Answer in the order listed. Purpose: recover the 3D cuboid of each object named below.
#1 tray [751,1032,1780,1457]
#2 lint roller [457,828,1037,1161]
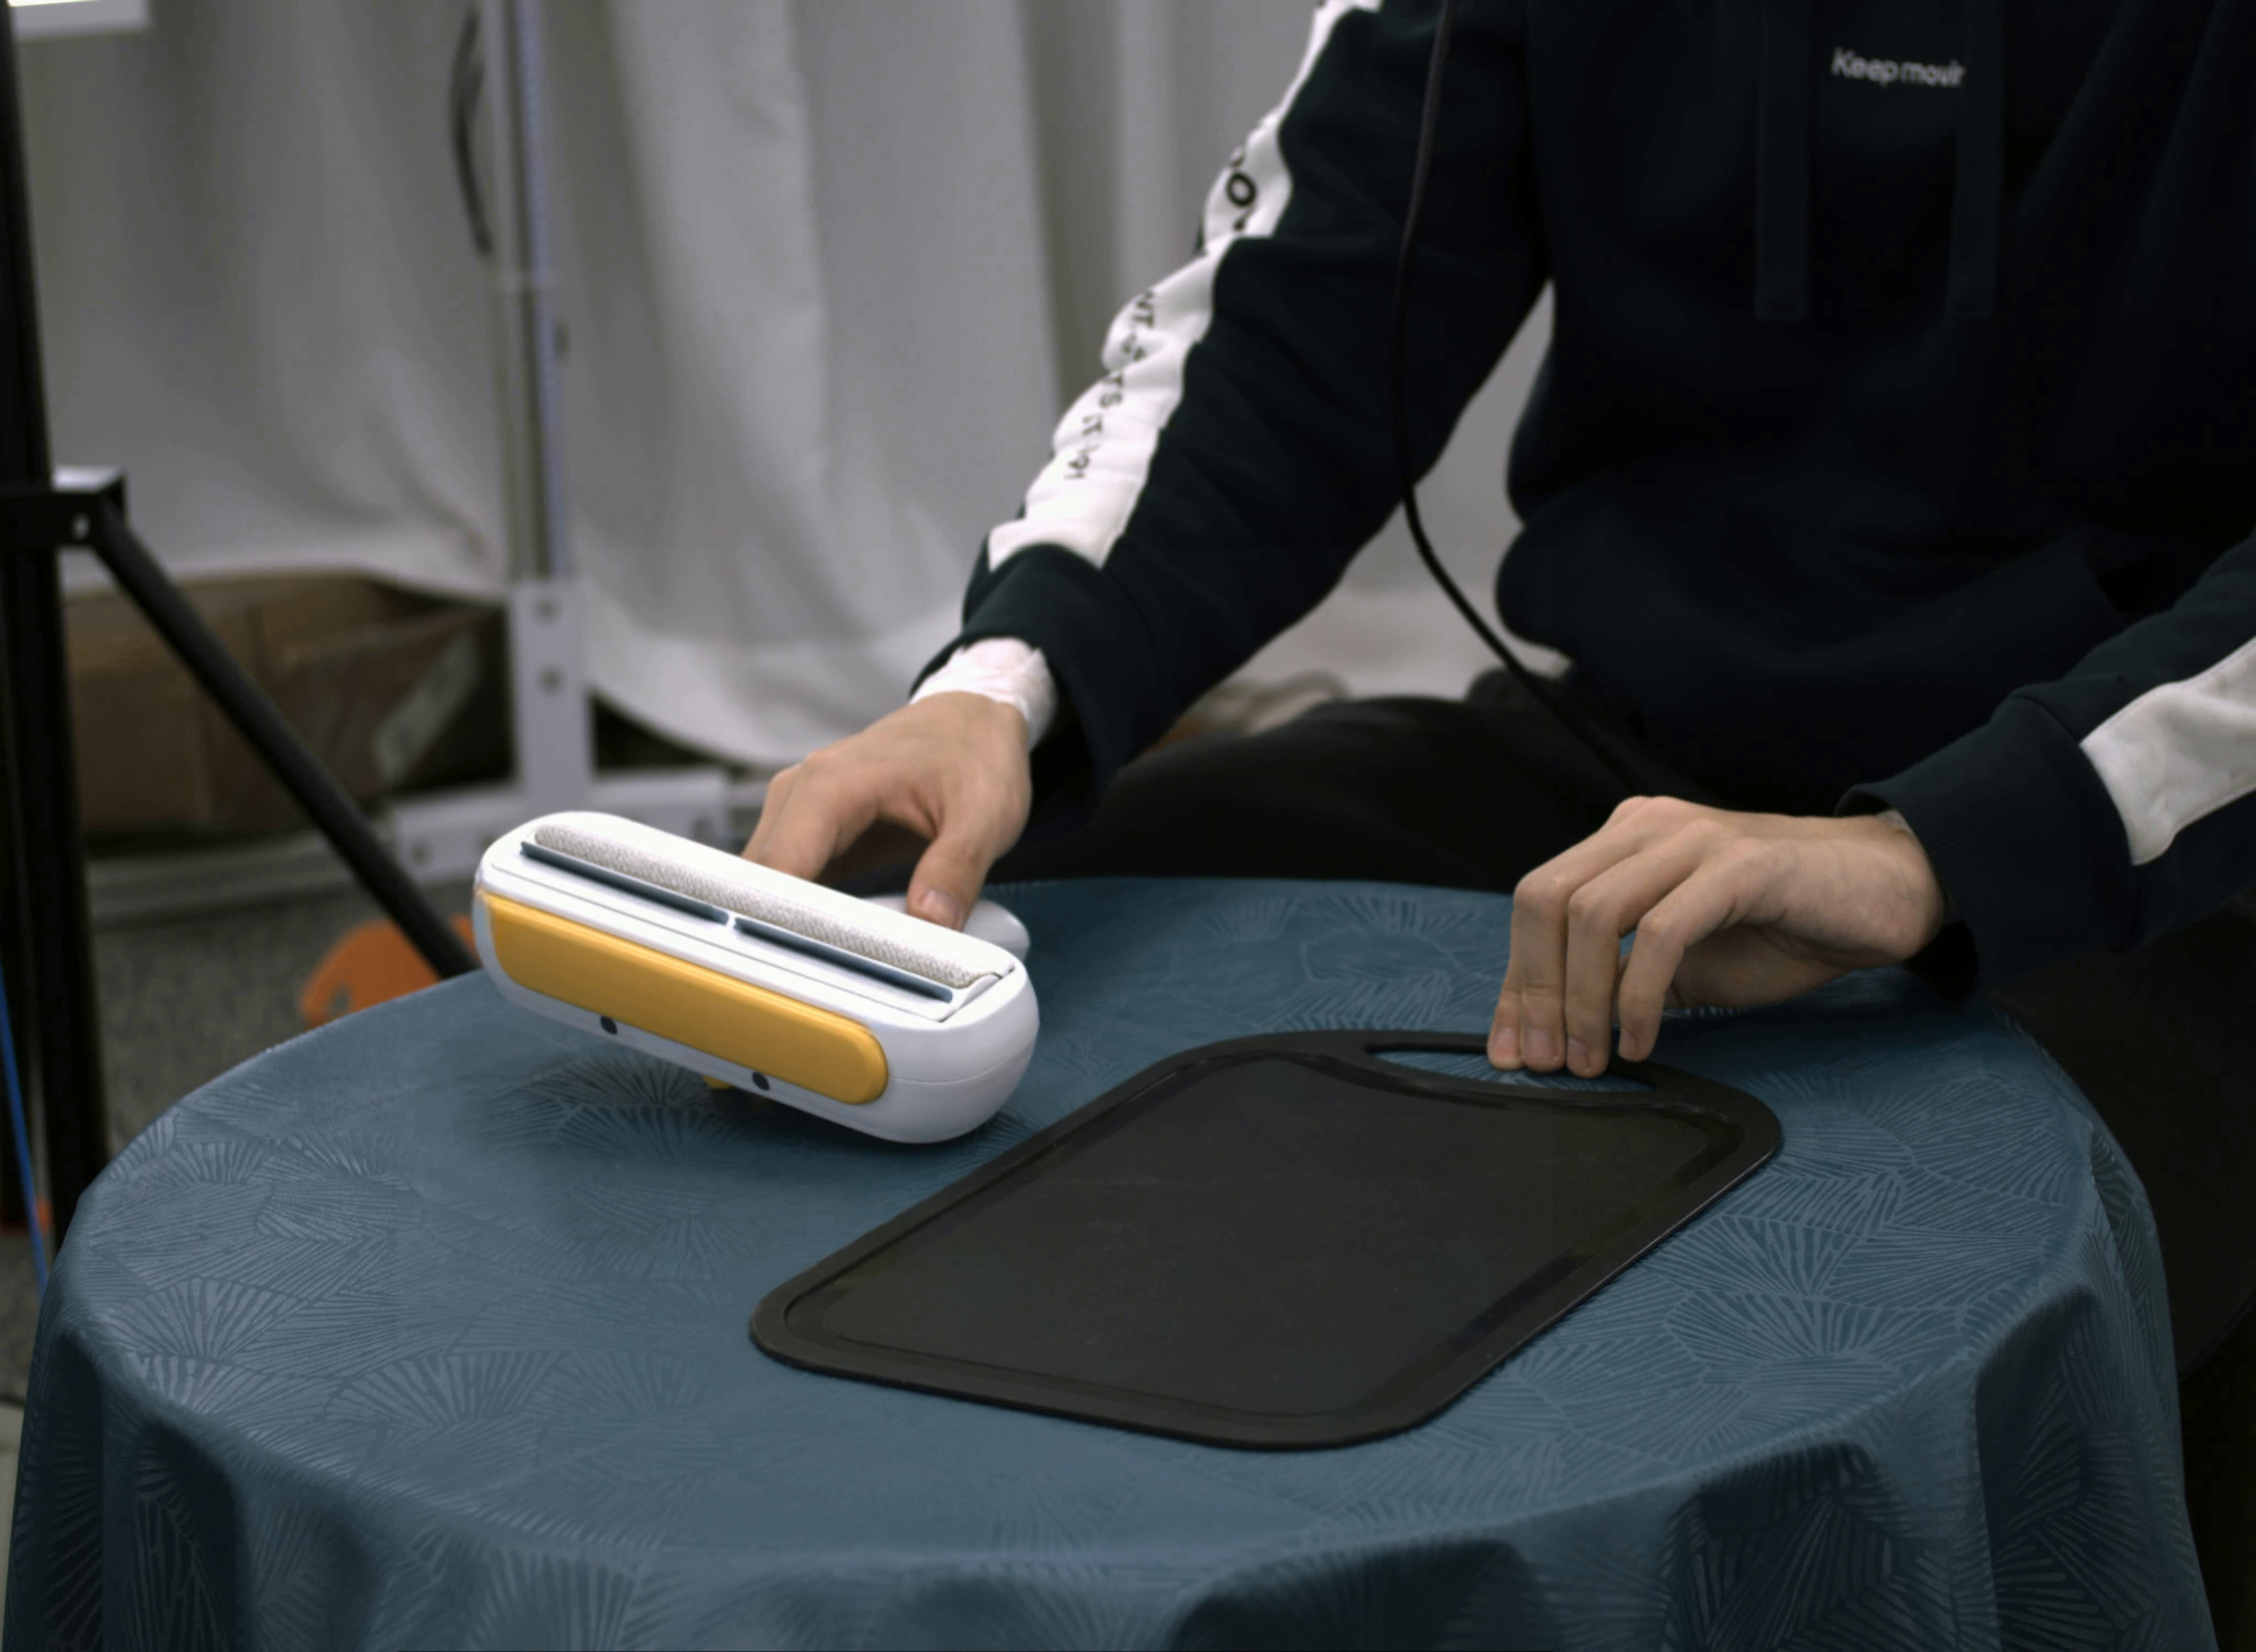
[{"bbox_3d":[0.049,0.111,1.529,0.215,0.010,0.319,7,19,31],"label":"tray"},{"bbox_3d":[-0.093,0.057,1.698,0.197,0.074,0.187,17,9,35],"label":"lint roller"}]
